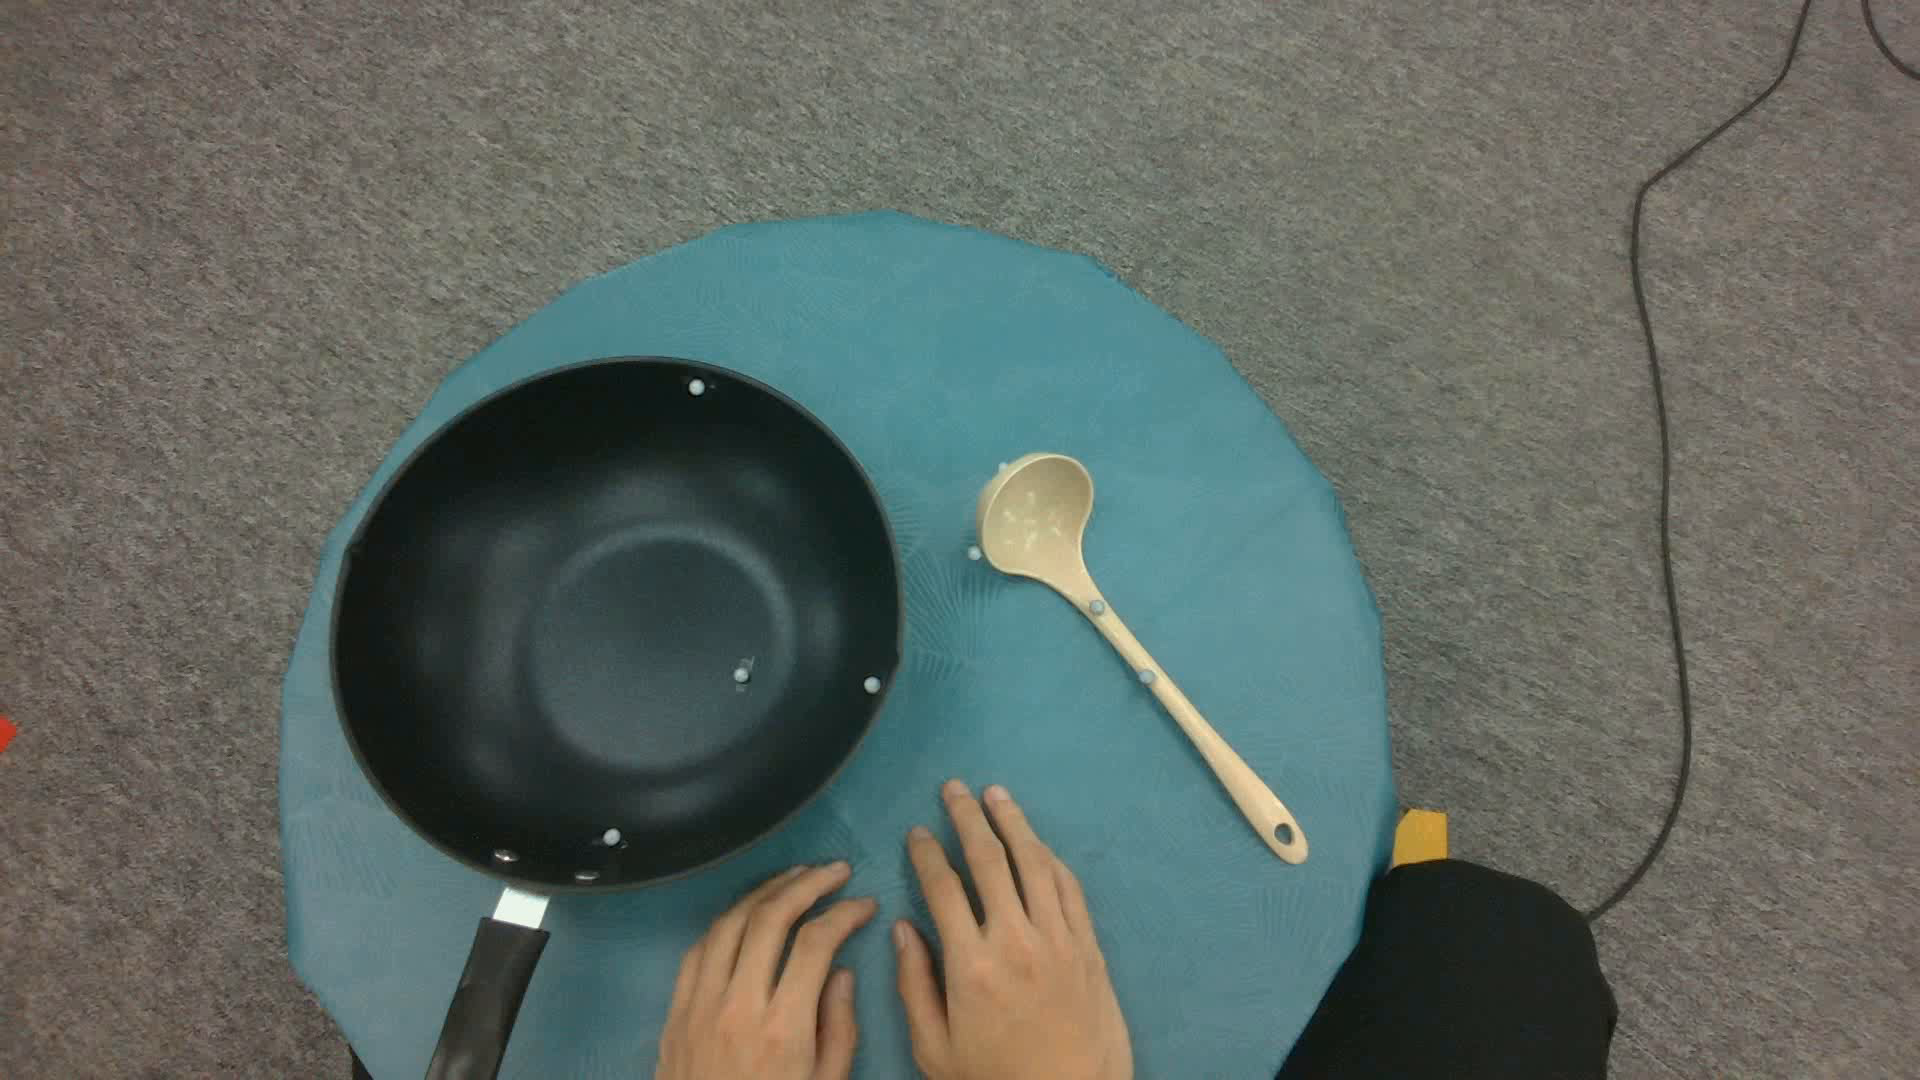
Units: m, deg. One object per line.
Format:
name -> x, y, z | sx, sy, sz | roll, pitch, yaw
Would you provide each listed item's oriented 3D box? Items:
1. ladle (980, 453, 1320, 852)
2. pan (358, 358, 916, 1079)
ladle -> 0.106, 0.057, 0.729 | 0.072, 0.072, 0.254 | -36, 71, -14
pan -> -0.185, 0.130, 0.702 | 0.288, 0.086, 0.465 | 12, 70, 6
